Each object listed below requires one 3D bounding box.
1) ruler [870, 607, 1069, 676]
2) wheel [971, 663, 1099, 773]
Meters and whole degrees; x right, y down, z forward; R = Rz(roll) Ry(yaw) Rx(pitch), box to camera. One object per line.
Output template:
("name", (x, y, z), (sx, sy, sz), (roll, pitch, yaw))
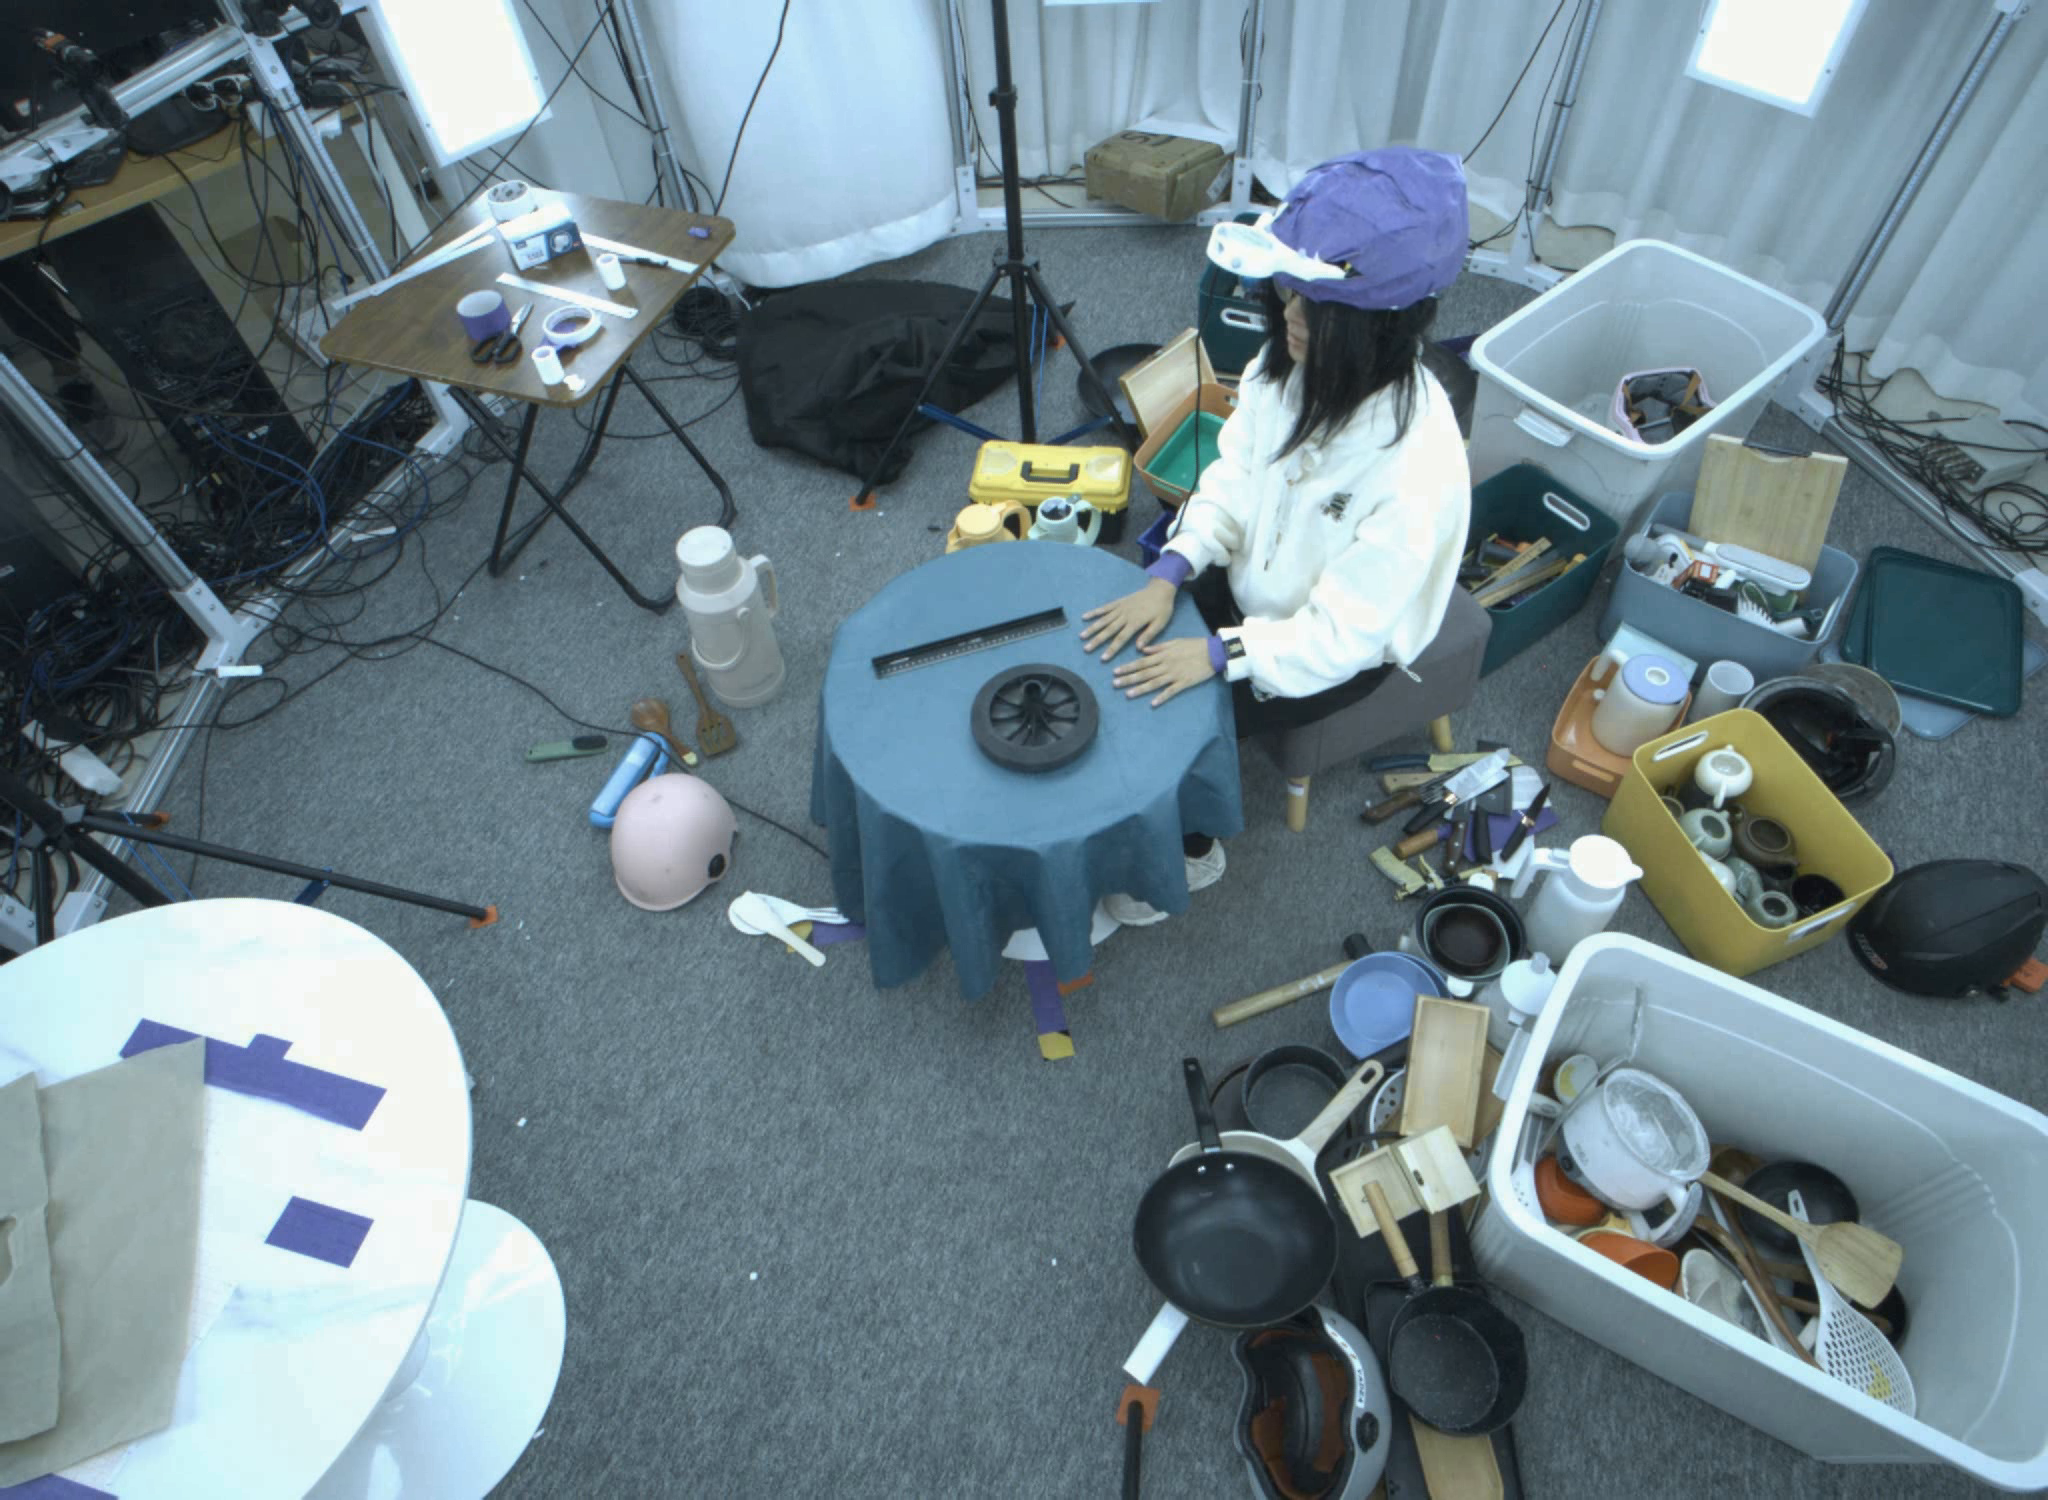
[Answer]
("ruler", (-0.084, -0.169, 1.901), (0.314, 0.017, 0.038), (-15, 60, -9))
("wheel", (0.014, -0.061, 1.784), (0.187, 0.080, 0.188), (-2, 55, 1))
